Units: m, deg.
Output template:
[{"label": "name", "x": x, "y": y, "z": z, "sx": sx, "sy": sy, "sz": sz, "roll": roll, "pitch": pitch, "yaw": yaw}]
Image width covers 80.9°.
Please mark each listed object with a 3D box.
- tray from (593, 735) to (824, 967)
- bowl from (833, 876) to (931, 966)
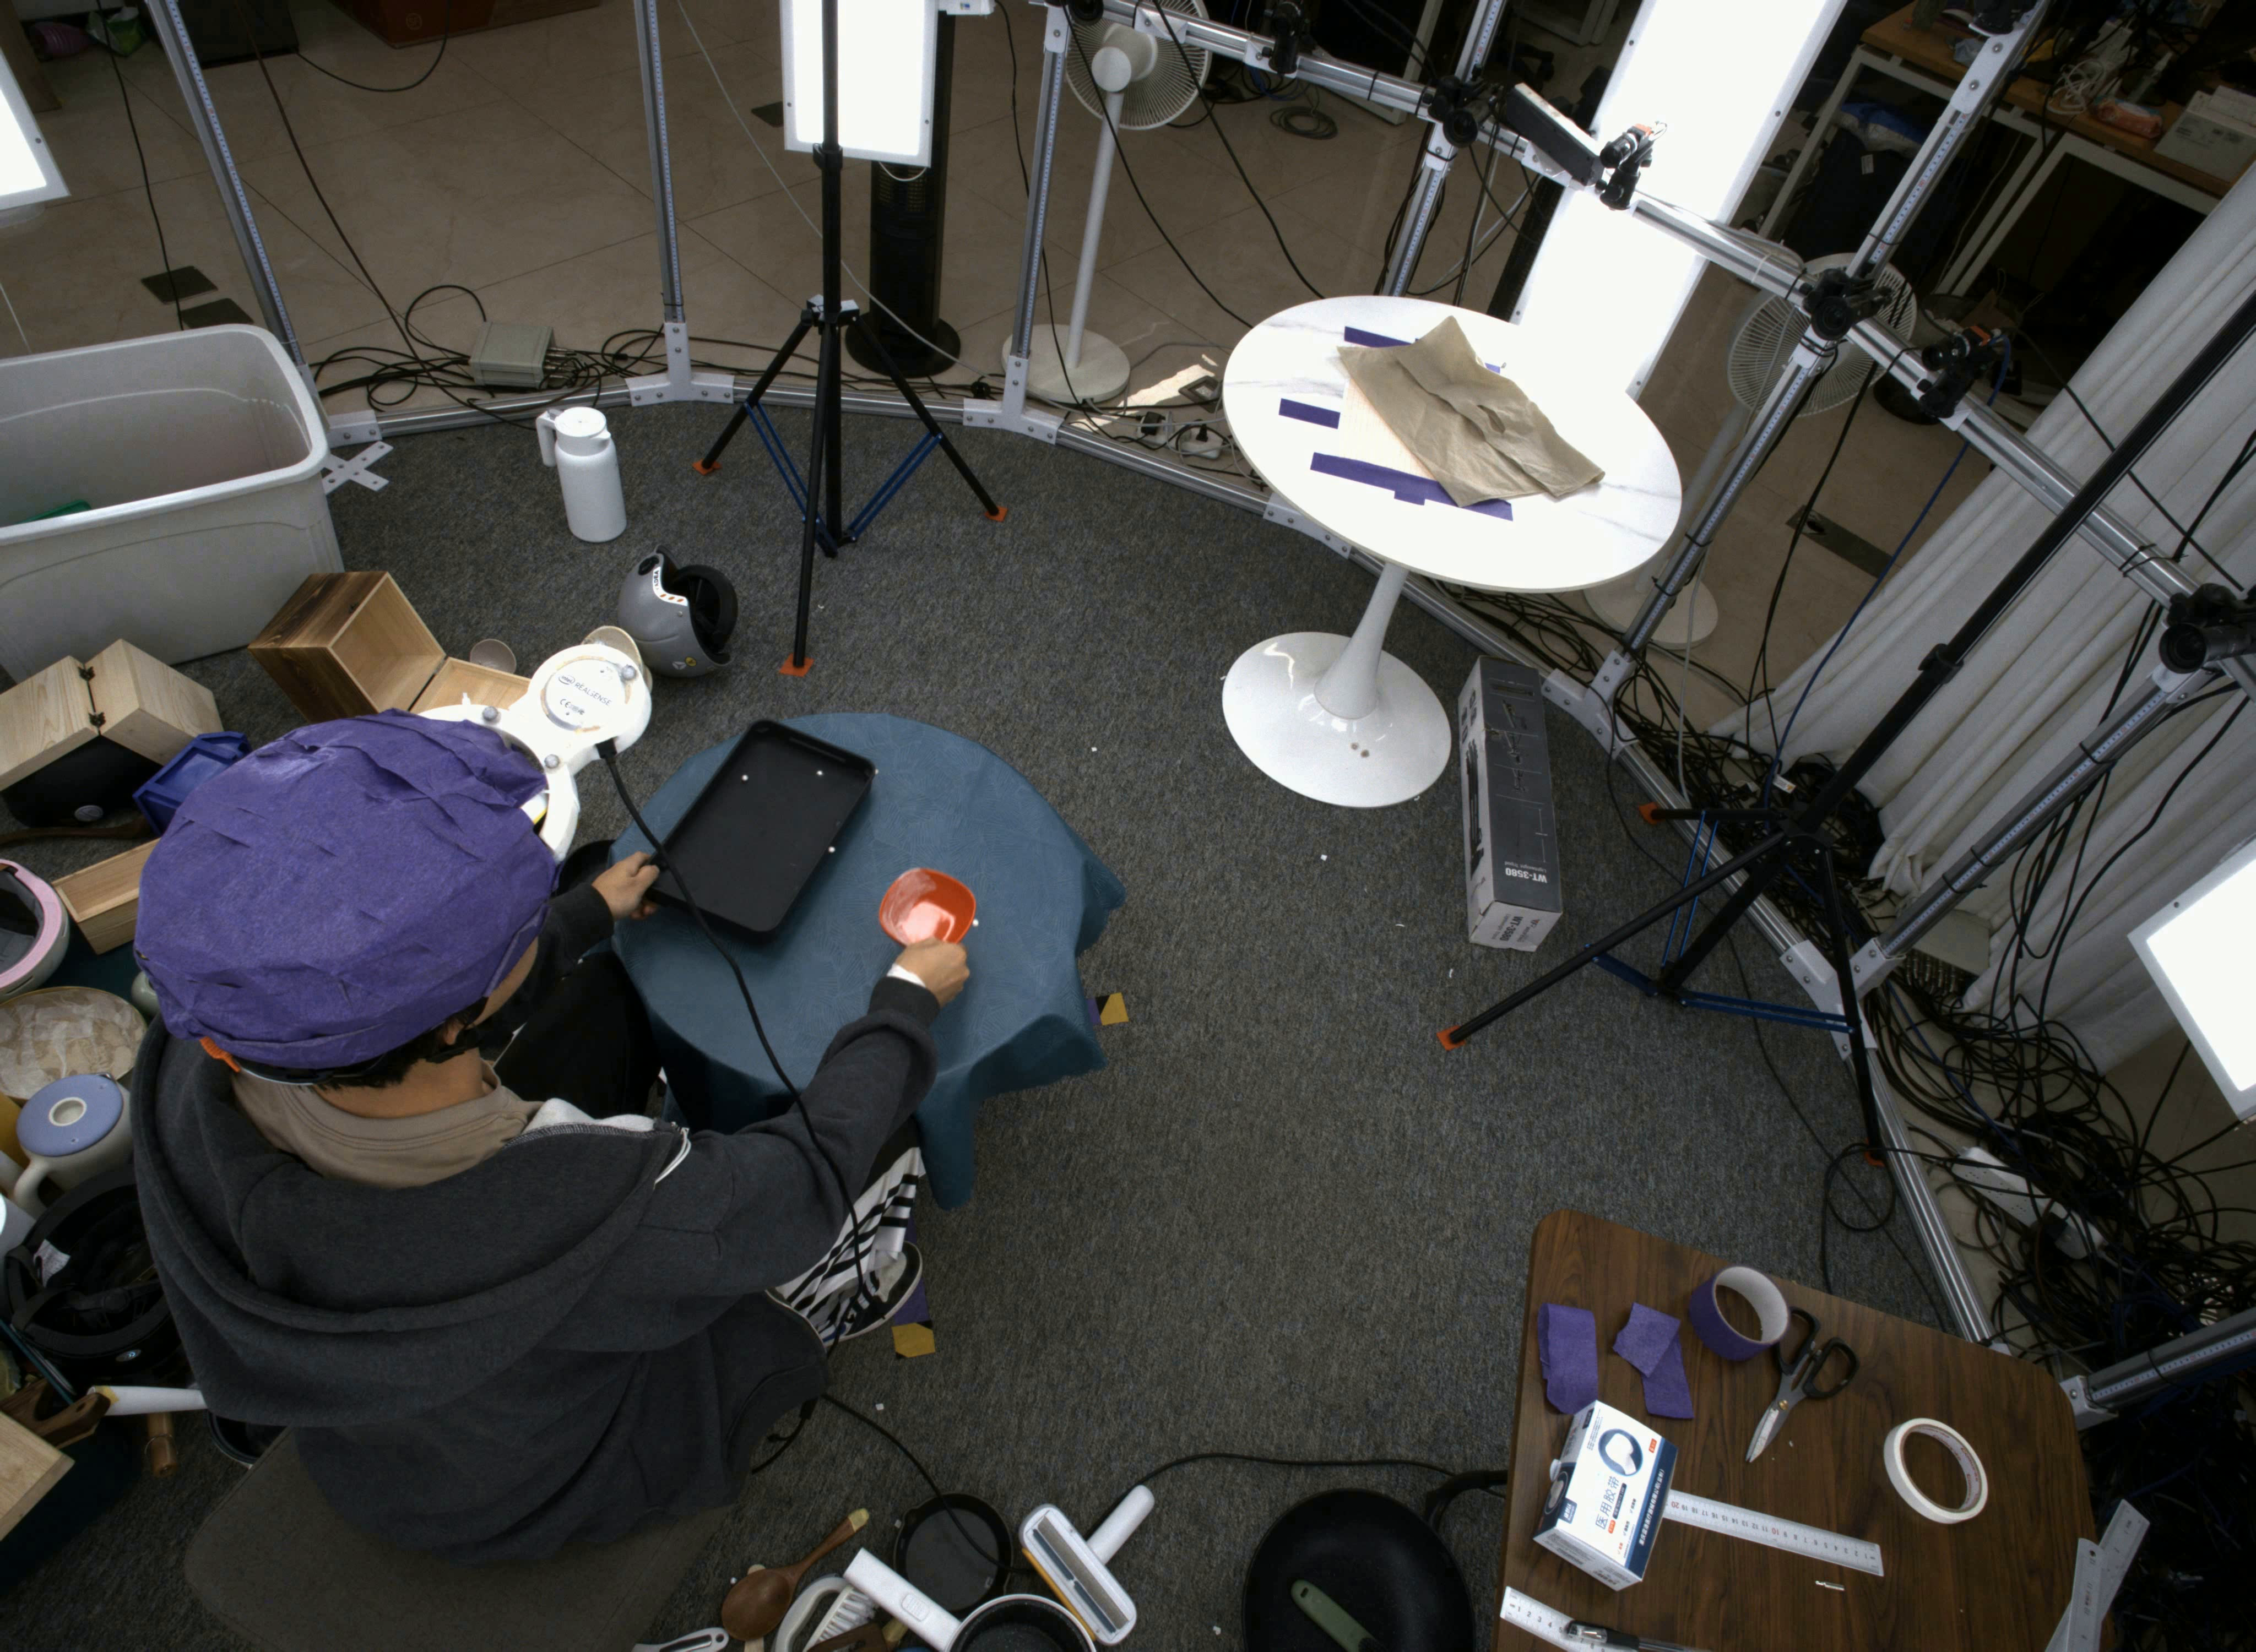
[{"label": "tray", "x": -0.525, "y": 0.023, "z": 1.629, "sx": 0.183, "sy": 0.038, "sz": 0.314, "roll": 20, "pitch": 48, "yaw": -2}, {"label": "bowl", "x": -0.298, "y": 0.122, "z": 1.574, "sx": 0.119, "sy": 0.052, "sz": 0.117, "roll": 8, "pitch": 57, "yaw": -10}]
